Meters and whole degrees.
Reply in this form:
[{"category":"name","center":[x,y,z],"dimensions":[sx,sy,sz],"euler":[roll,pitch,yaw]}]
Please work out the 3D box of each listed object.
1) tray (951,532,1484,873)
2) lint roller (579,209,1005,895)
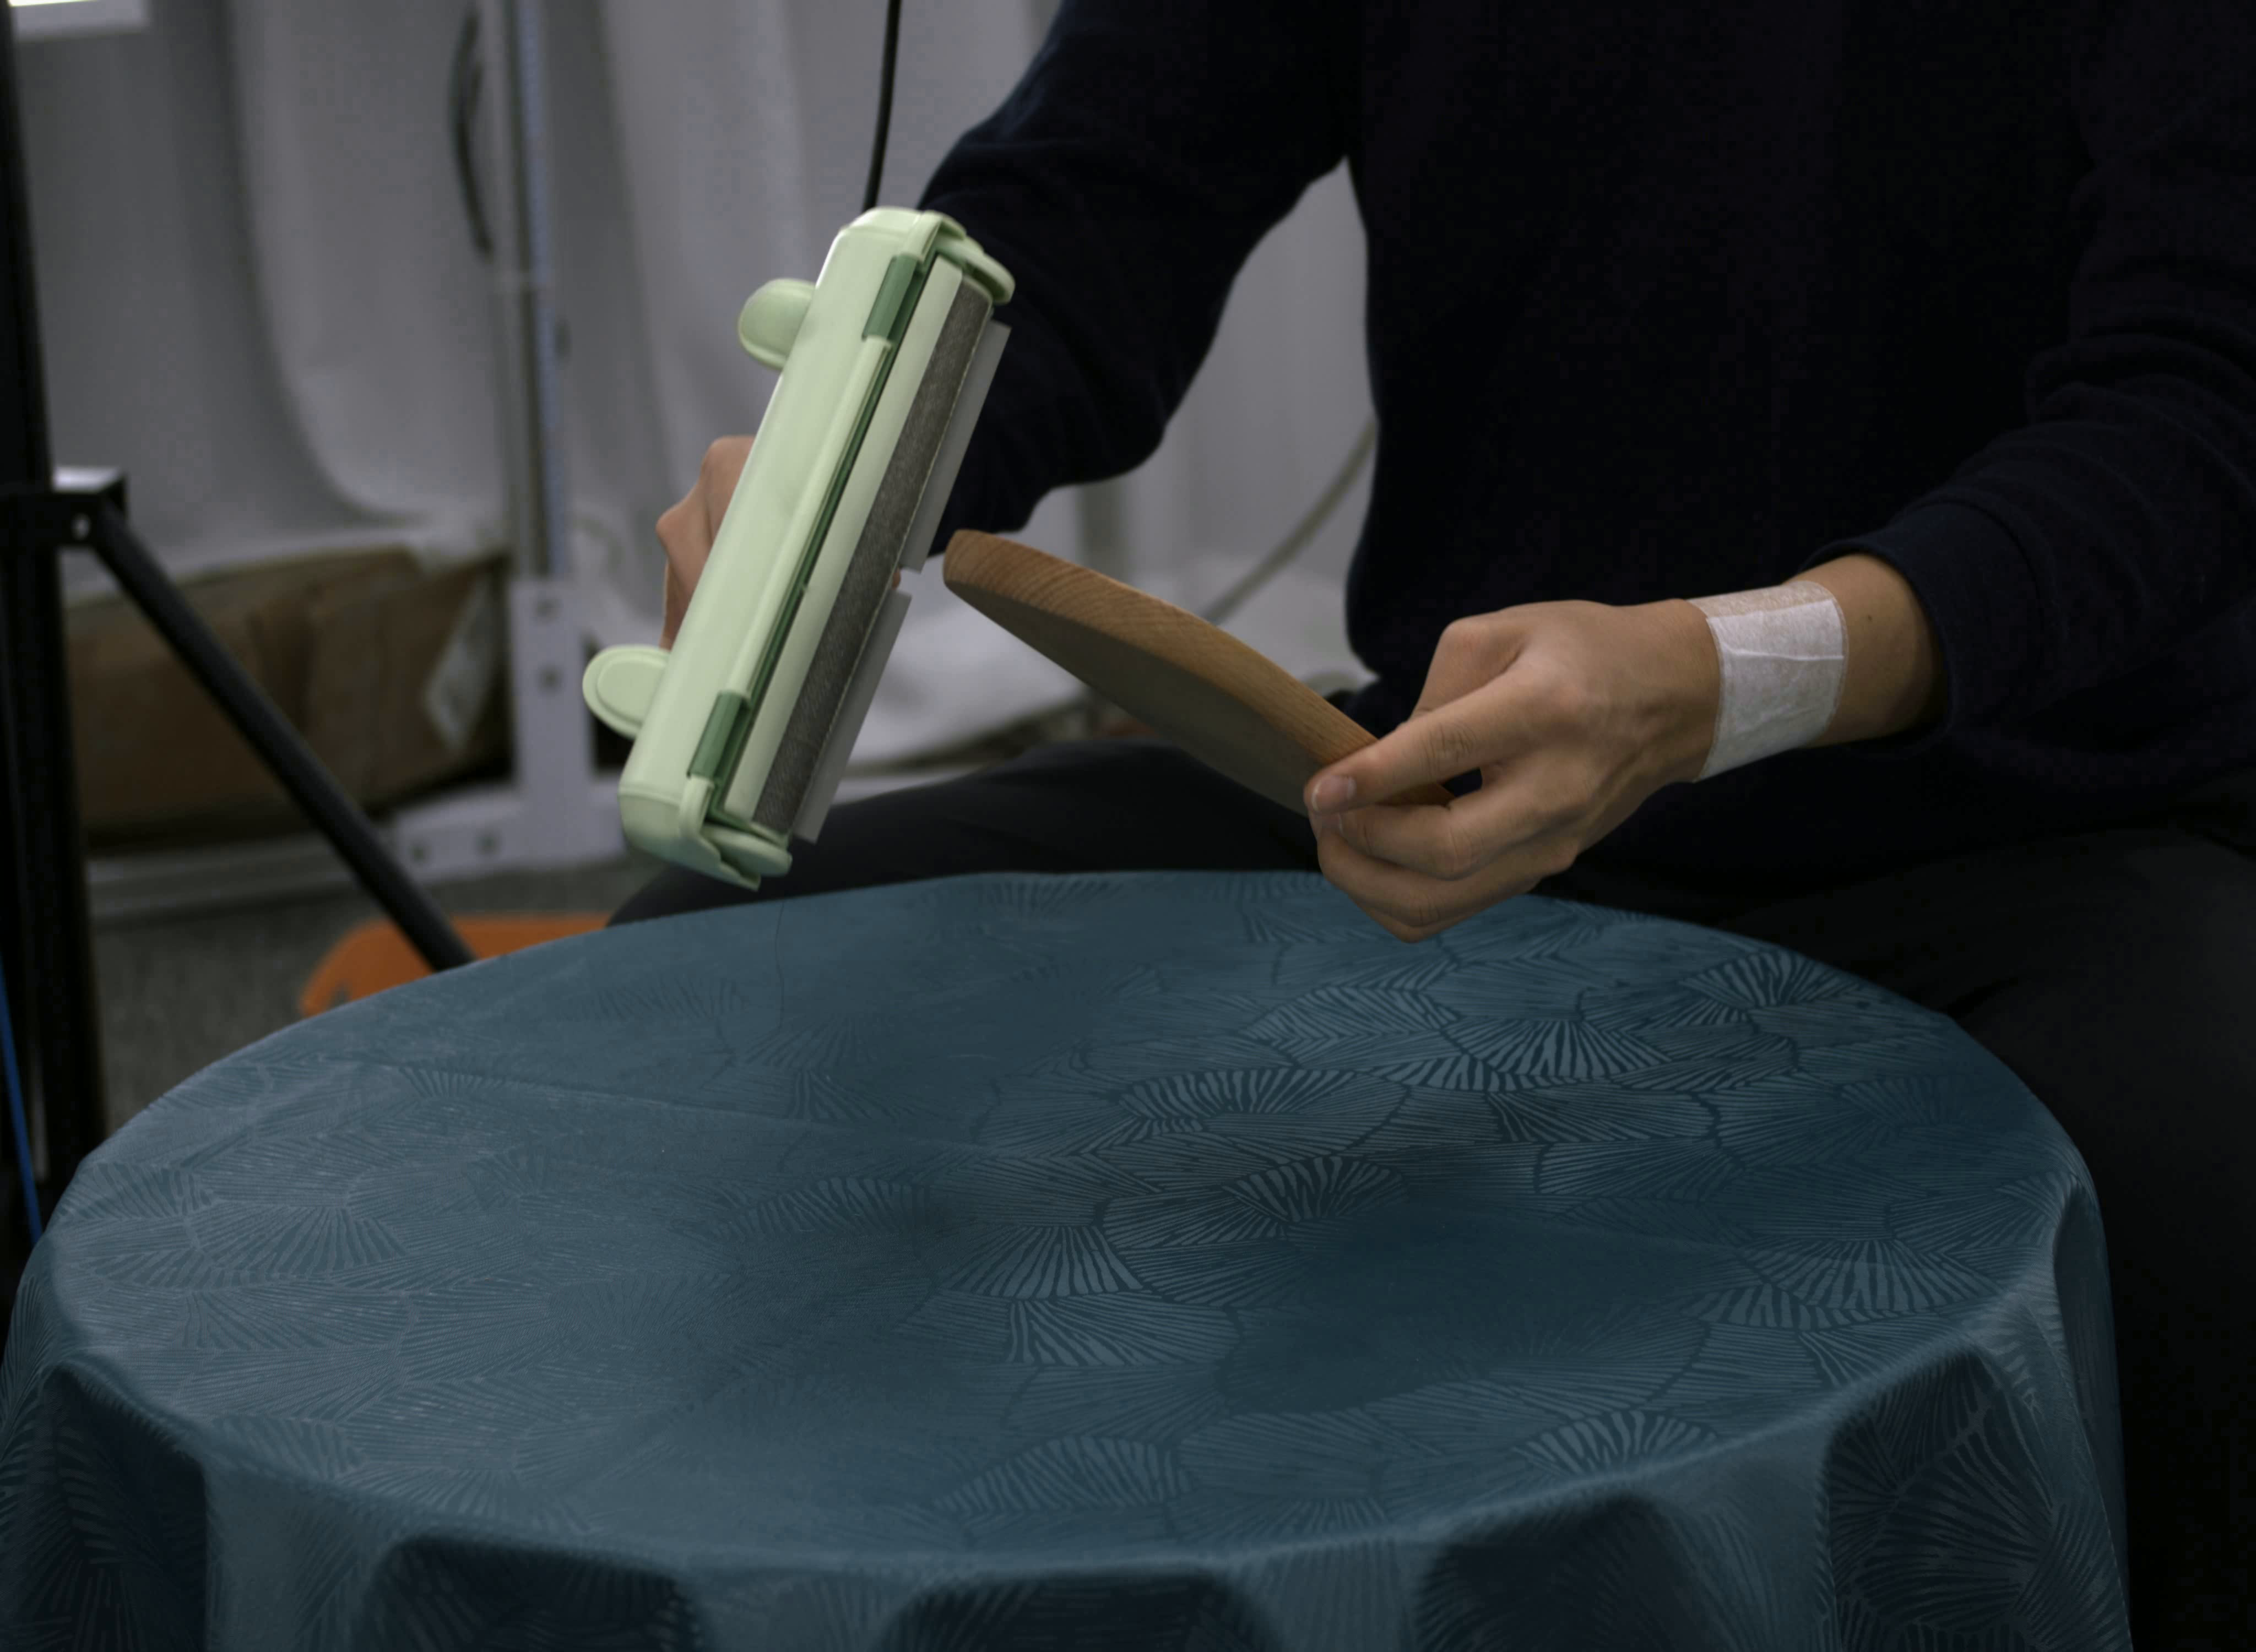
[{"category":"tray","center":[0.027,-0.032,1.502],"dimensions":[0.104,0.020,0.226],"euler":[23,-8,33]},{"category":"lint roller","center":[-0.113,-0.077,1.579],"dimensions":[0.081,0.199,0.185],"euler":[24,-12,-14]}]
